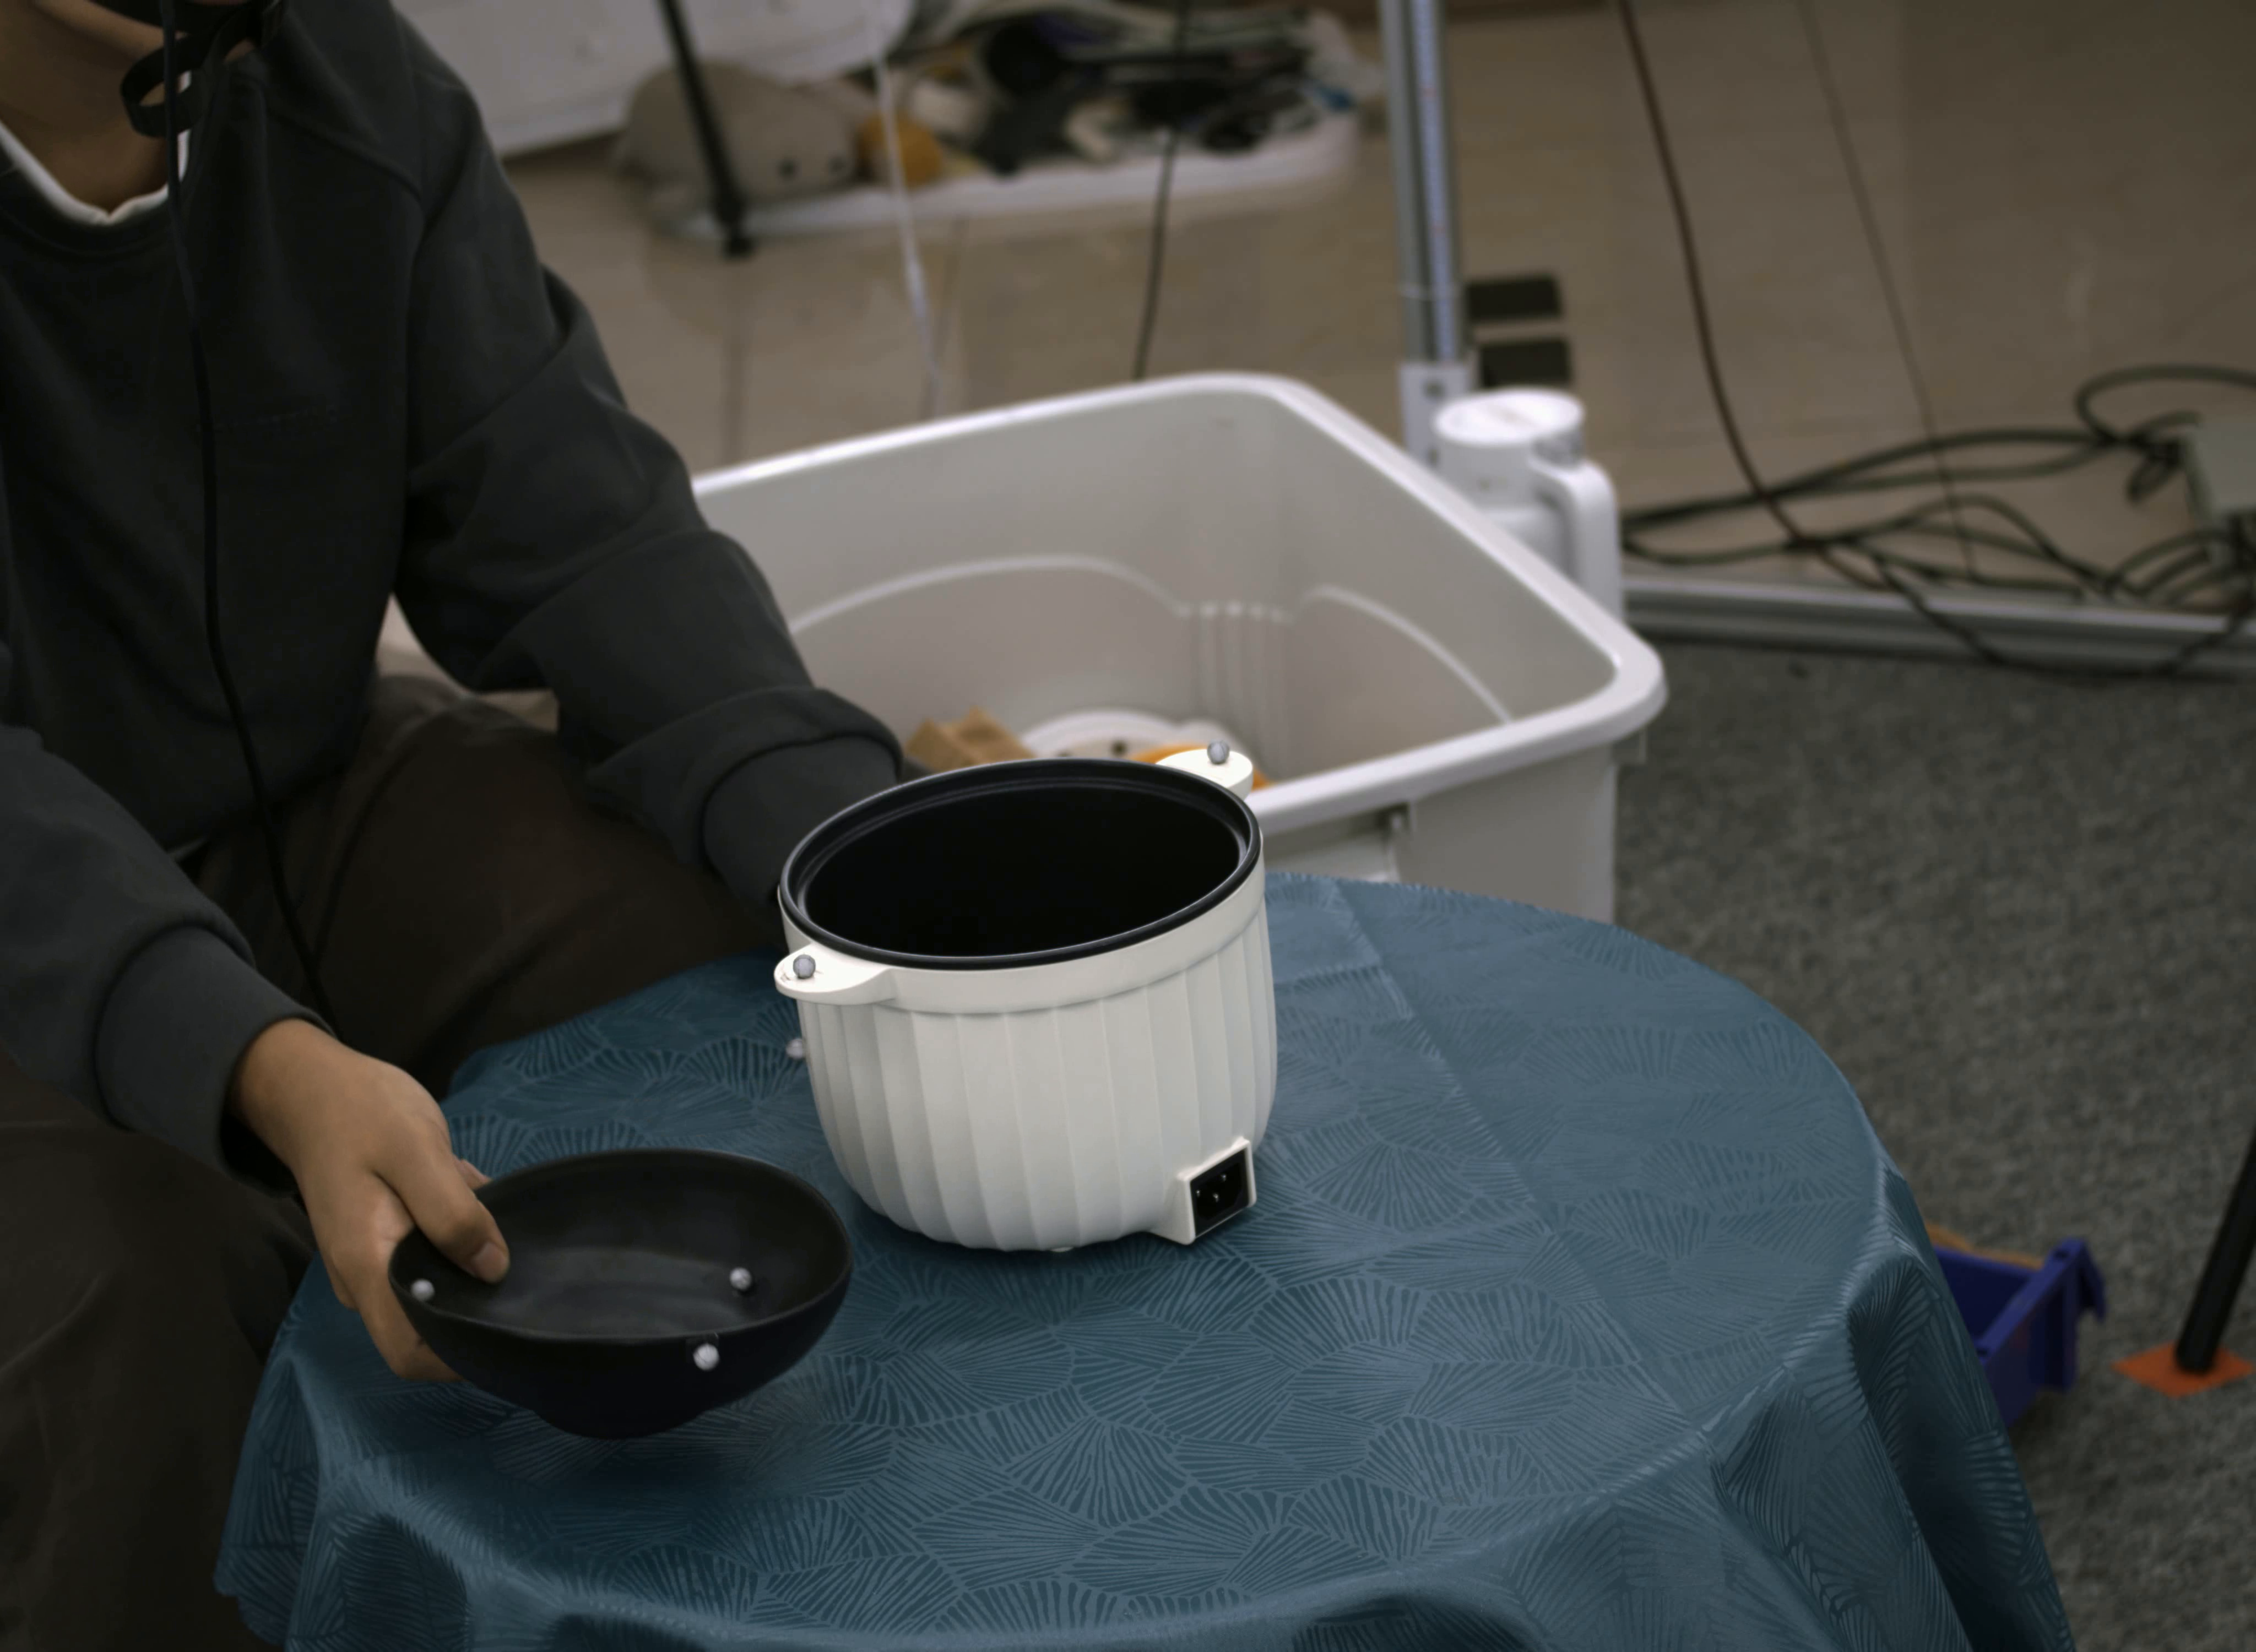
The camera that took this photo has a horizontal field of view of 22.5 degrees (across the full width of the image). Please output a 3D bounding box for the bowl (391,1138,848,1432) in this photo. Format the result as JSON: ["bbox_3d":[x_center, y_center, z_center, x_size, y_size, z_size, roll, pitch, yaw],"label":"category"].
[{"bbox_3d":[-0.178,0.170,2.000,0.170,0.068,0.135,4,28,19],"label":"bowl"}]

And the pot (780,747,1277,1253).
[{"bbox_3d":[-0.038,0.071,2.138,0.189,0.145,0.238,20,34,38],"label":"pot"}]
